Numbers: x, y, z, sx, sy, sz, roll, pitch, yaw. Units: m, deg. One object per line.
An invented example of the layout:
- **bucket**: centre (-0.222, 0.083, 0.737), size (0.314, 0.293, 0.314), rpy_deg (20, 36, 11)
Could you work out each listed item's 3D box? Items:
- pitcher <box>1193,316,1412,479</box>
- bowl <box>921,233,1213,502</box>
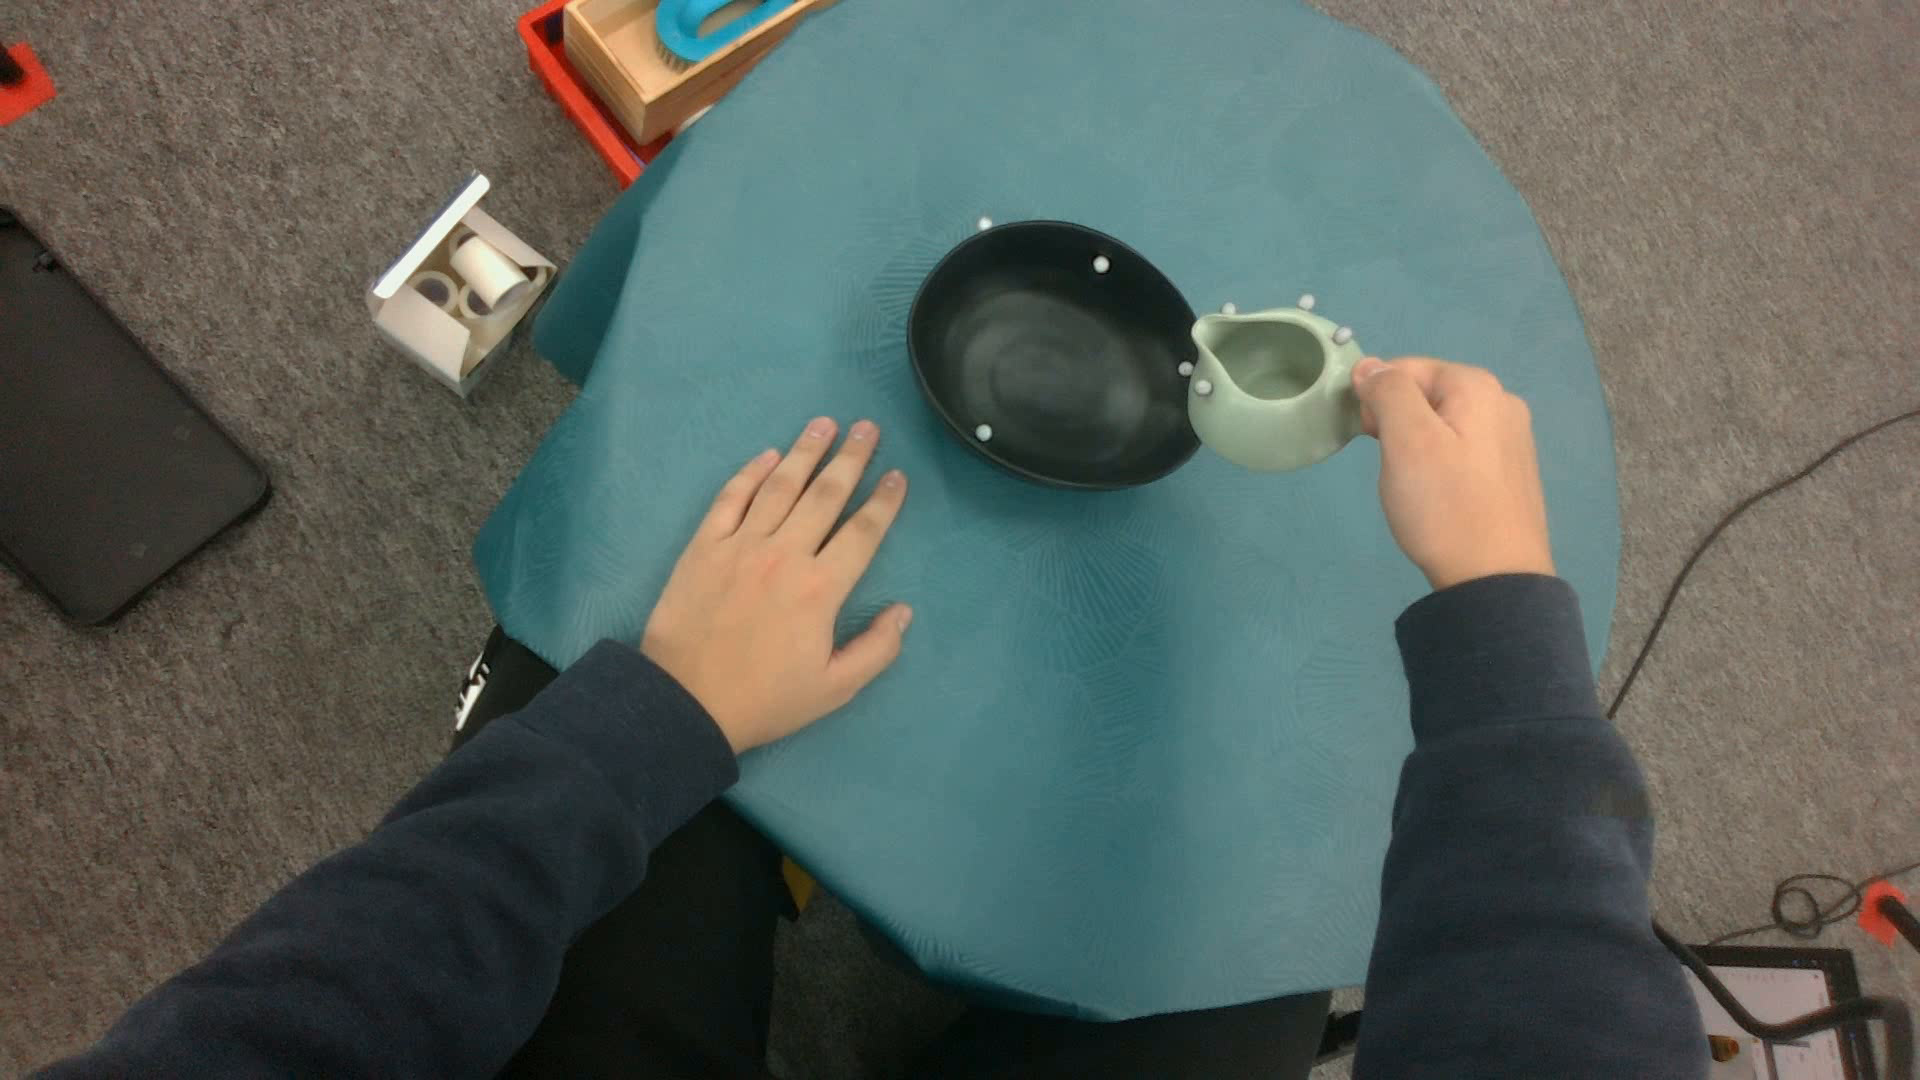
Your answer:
- **pitcher**: centre (0.165, -0.069, 0.663), size (0.108, 0.060, 0.086), rpy_deg (21, 72, 26)
- **bowl**: centre (0.056, -0.085, 0.731), size (0.170, 0.066, 0.137), rpy_deg (16, 77, -13)
